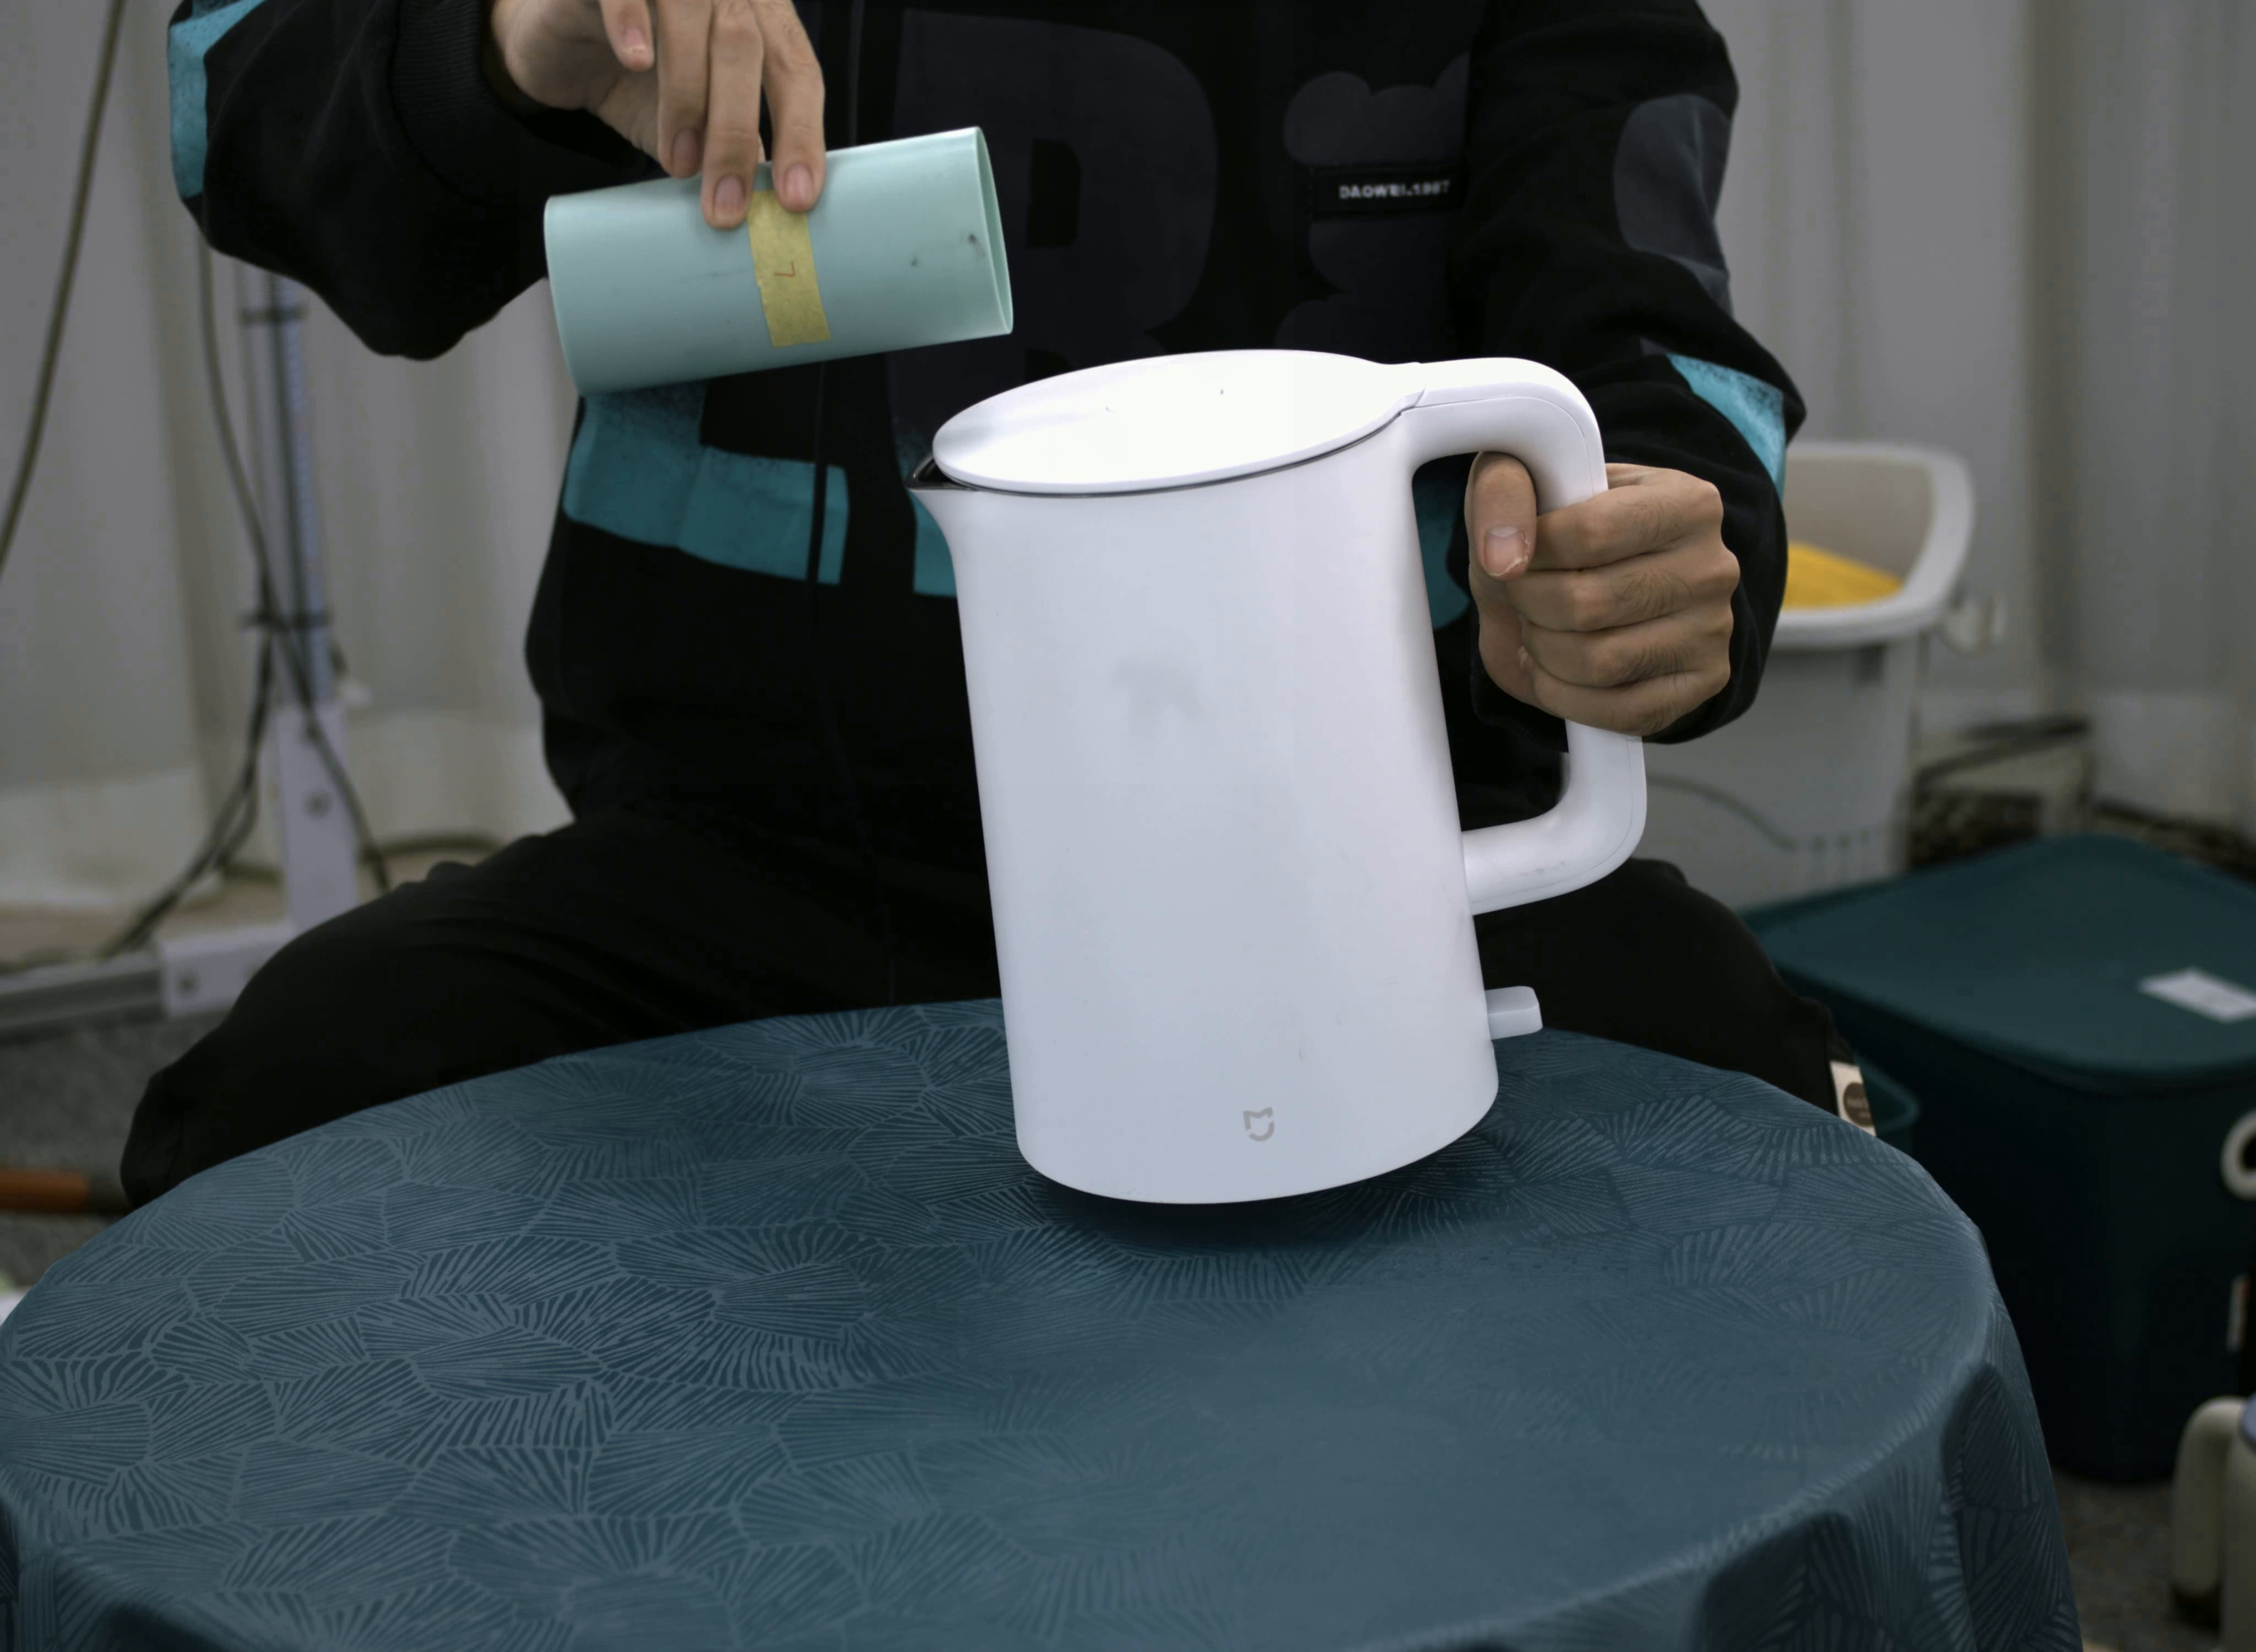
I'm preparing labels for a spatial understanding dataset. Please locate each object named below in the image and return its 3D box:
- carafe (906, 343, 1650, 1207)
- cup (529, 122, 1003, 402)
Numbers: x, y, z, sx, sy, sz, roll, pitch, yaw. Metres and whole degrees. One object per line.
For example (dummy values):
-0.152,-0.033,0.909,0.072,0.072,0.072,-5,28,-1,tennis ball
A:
0.053,-0.022,1.683,0.212,0.239,0.153,-9,18,0,carafe
-0.107,-0.168,1.643,0.132,0.066,0.067,-10,14,6,cup
